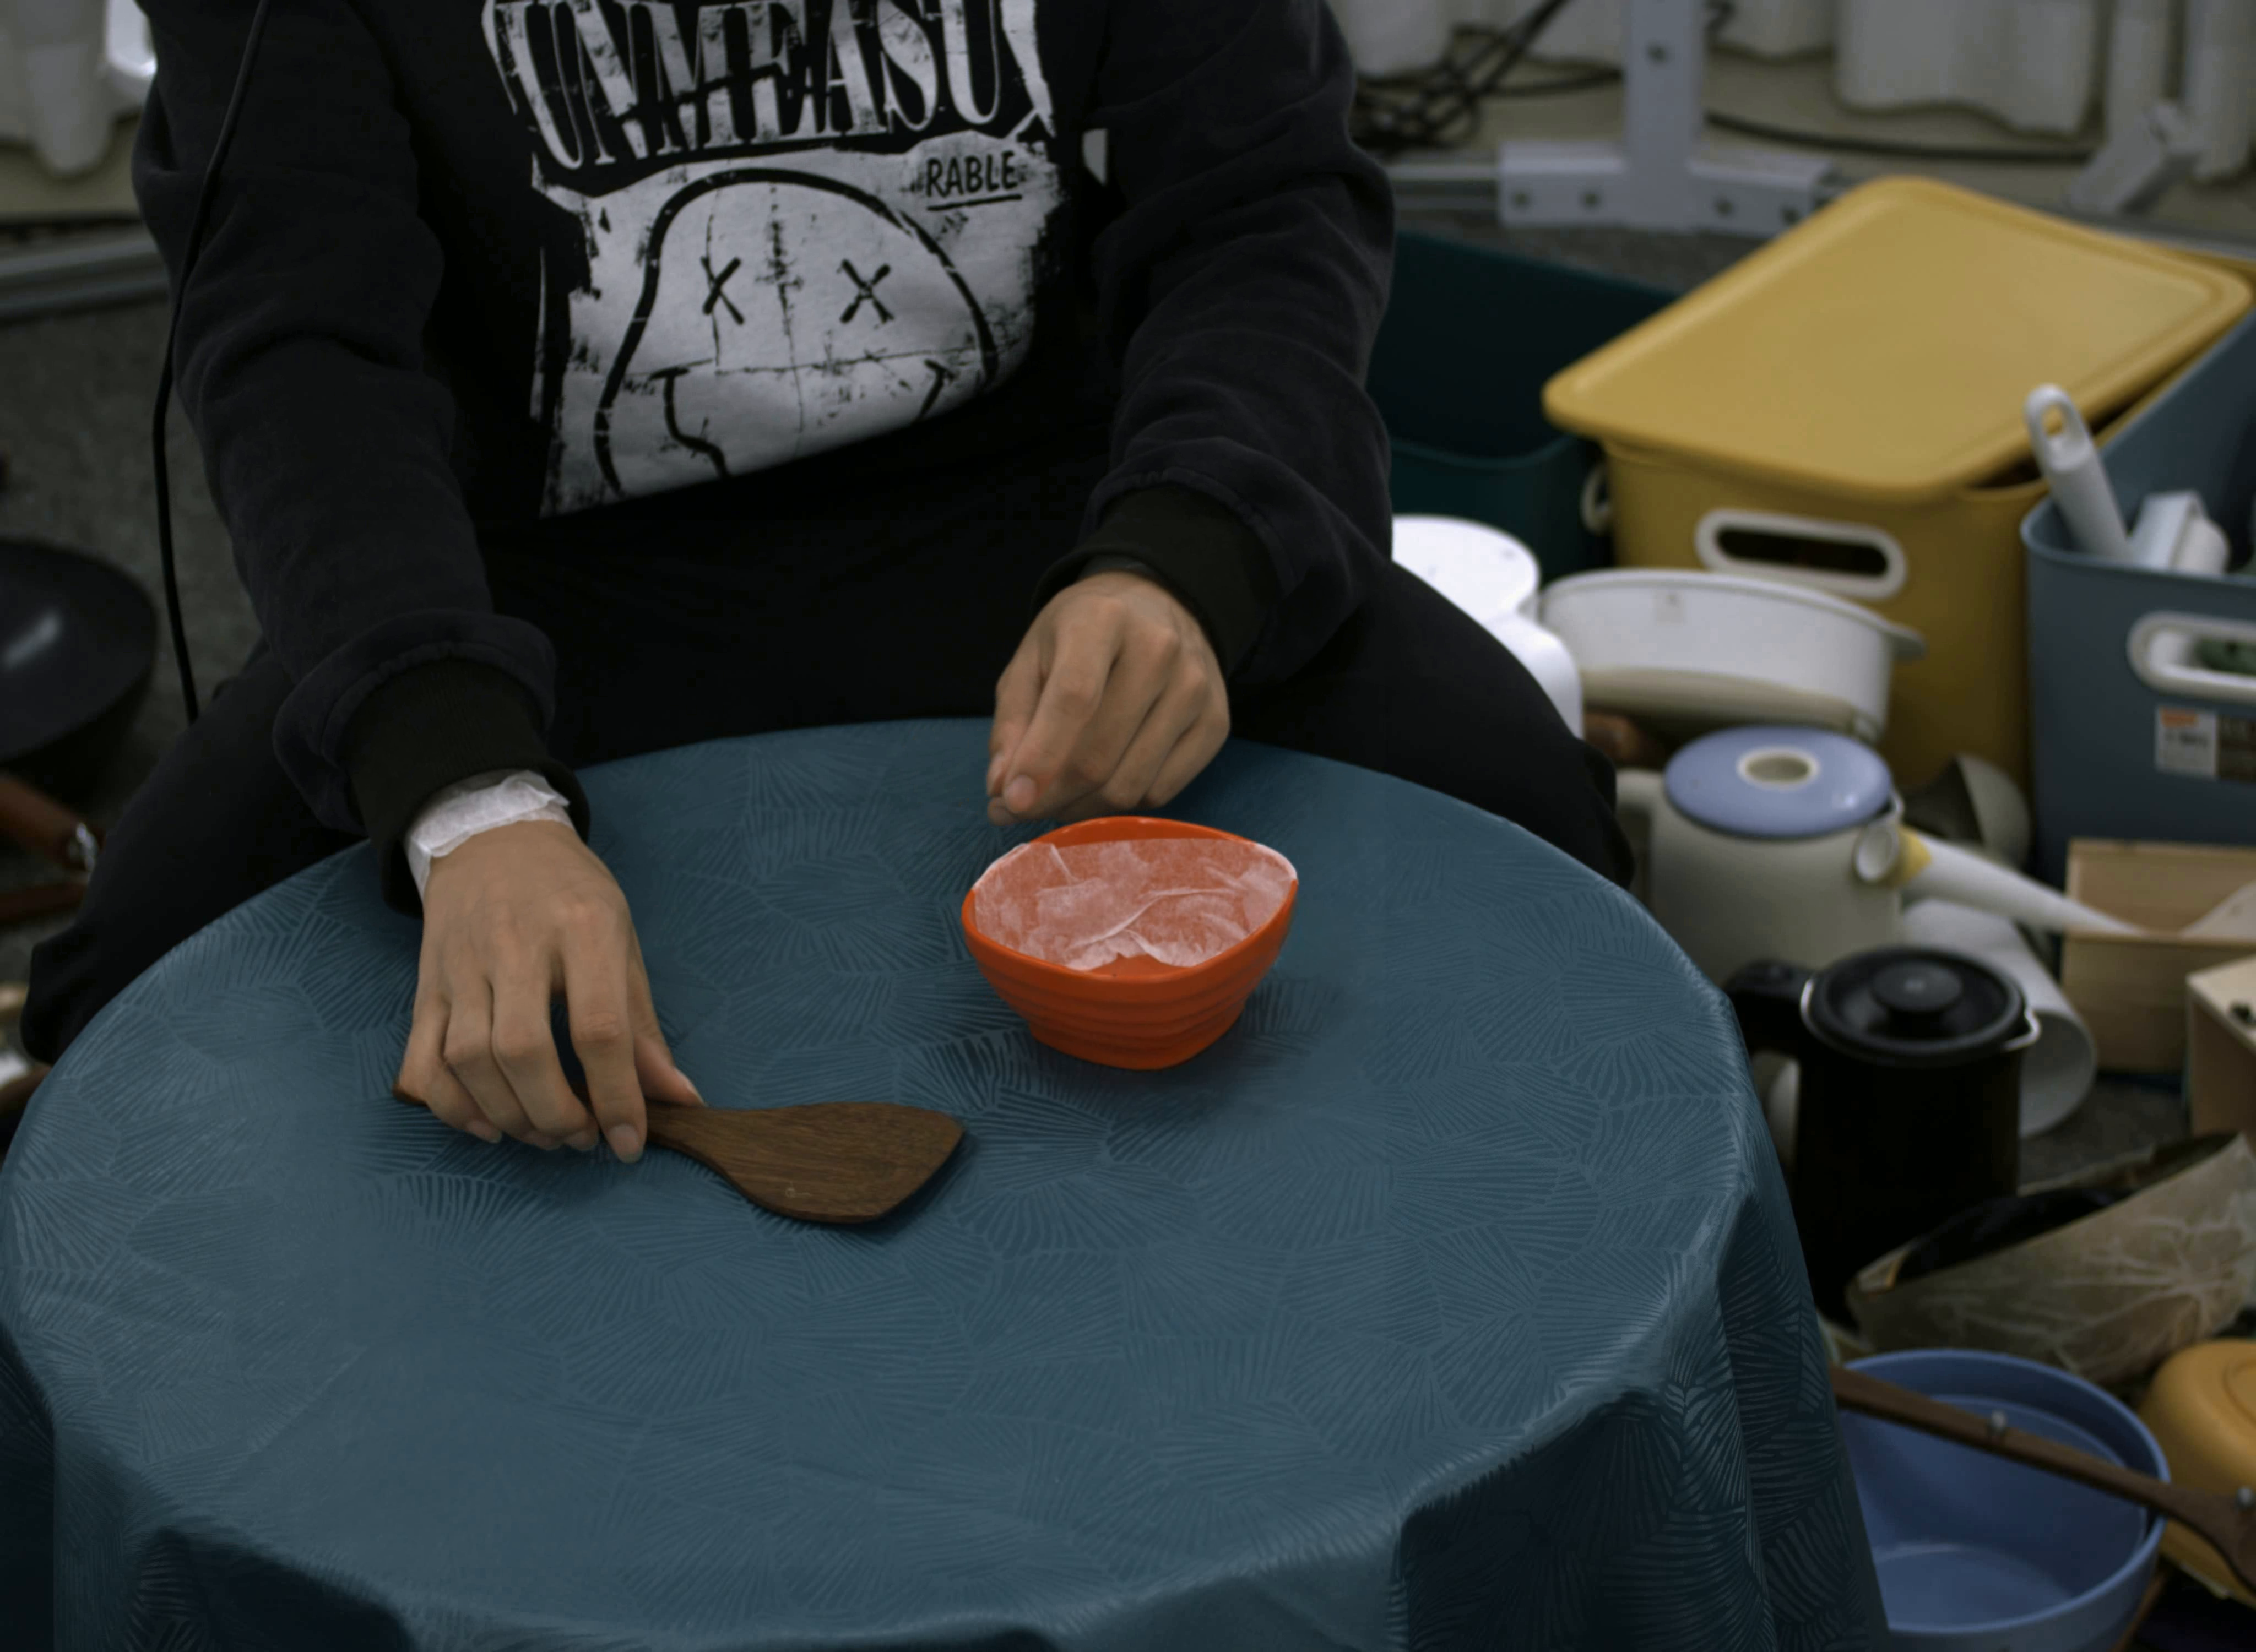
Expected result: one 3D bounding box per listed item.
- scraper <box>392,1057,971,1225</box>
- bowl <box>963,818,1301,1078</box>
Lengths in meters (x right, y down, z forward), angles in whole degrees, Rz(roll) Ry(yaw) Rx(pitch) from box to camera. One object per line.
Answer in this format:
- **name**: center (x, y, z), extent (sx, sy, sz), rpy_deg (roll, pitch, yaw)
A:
- **scraper**: center (-0.156, 0.102, 1.906), extent (0.210, 0.011, 0.077), rpy_deg (9, 29, 24)
- **bowl**: center (0.003, 0.047, 1.954), extent (0.118, 0.051, 0.121), rpy_deg (-3, 29, 2)
